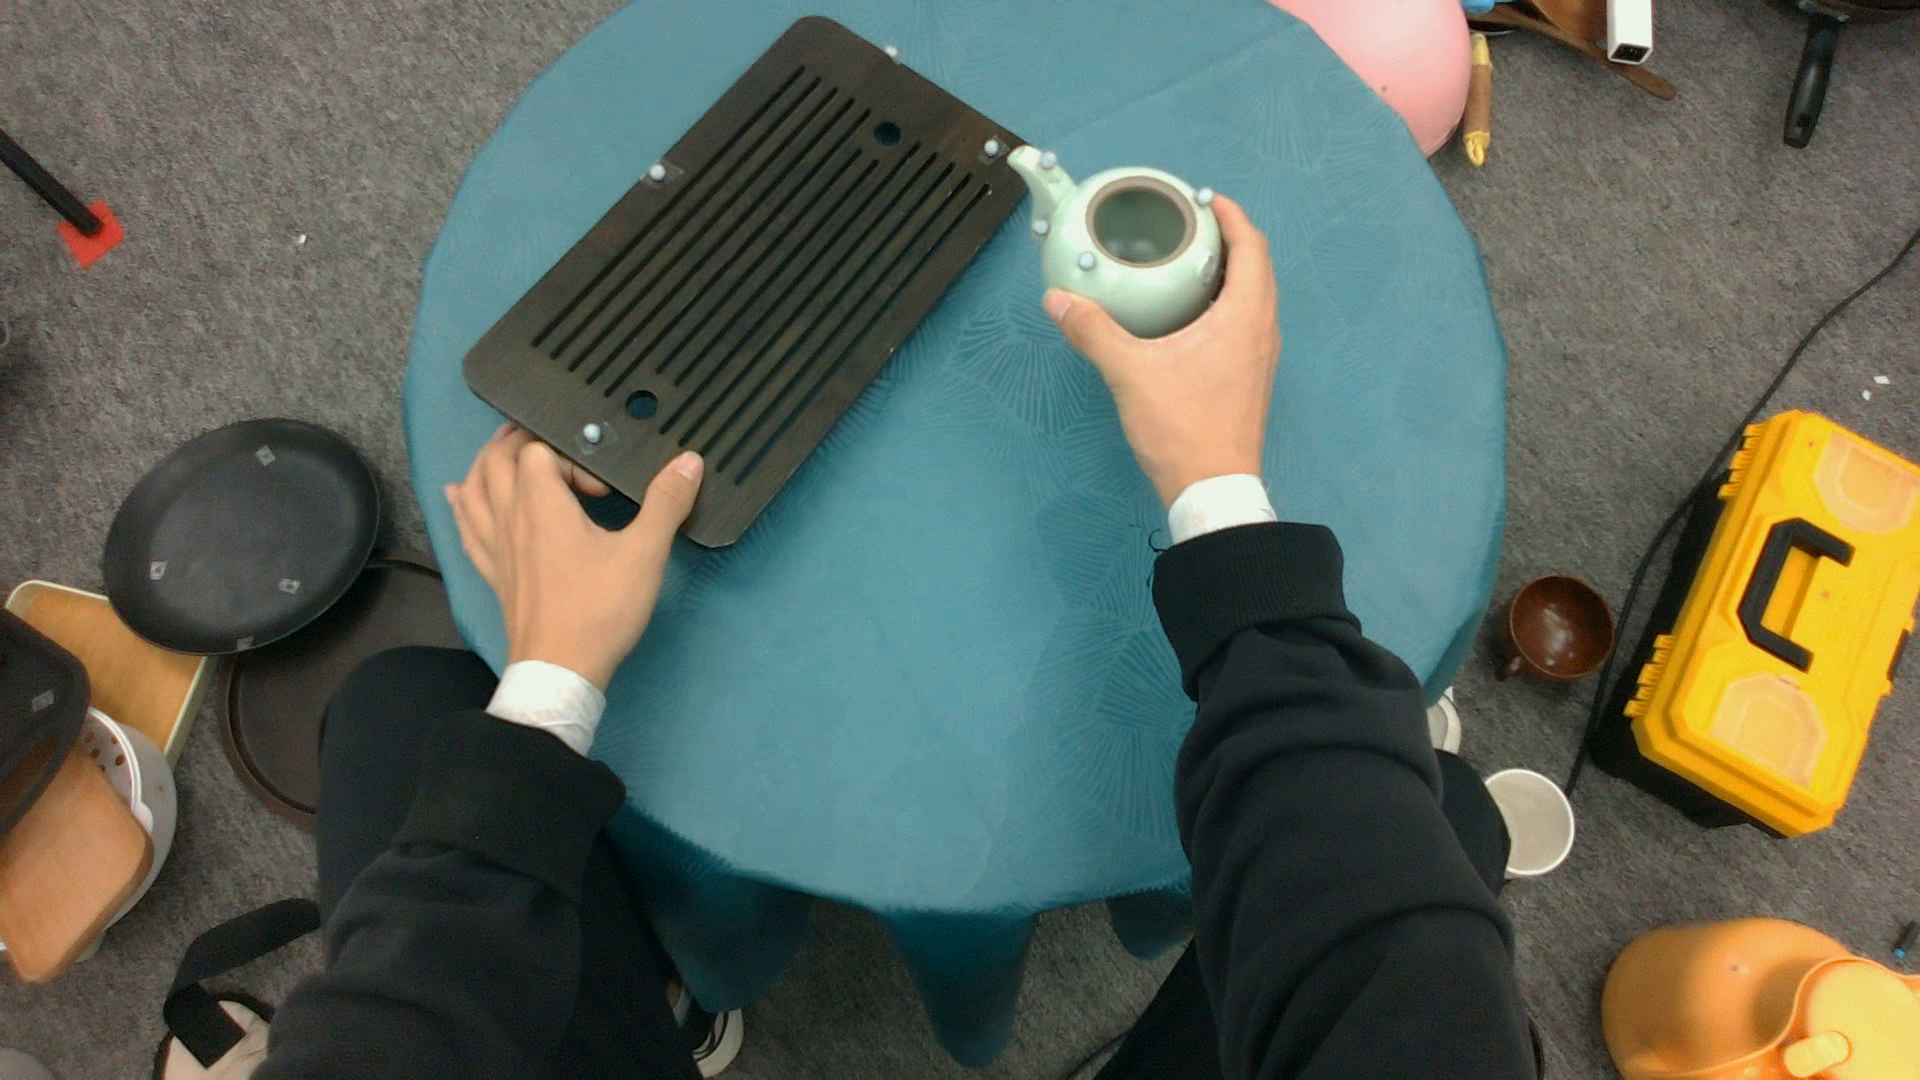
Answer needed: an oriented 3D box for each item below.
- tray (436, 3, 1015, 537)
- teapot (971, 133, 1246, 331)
[{"bbox_3d":[-0.116,-0.155,0.741,0.170,0.018,0.307,33,68,7],"label":"tray"},{"bbox_3d":[0.069,-0.146,0.669,0.144,0.074,0.088,28,69,14],"label":"teapot"}]
